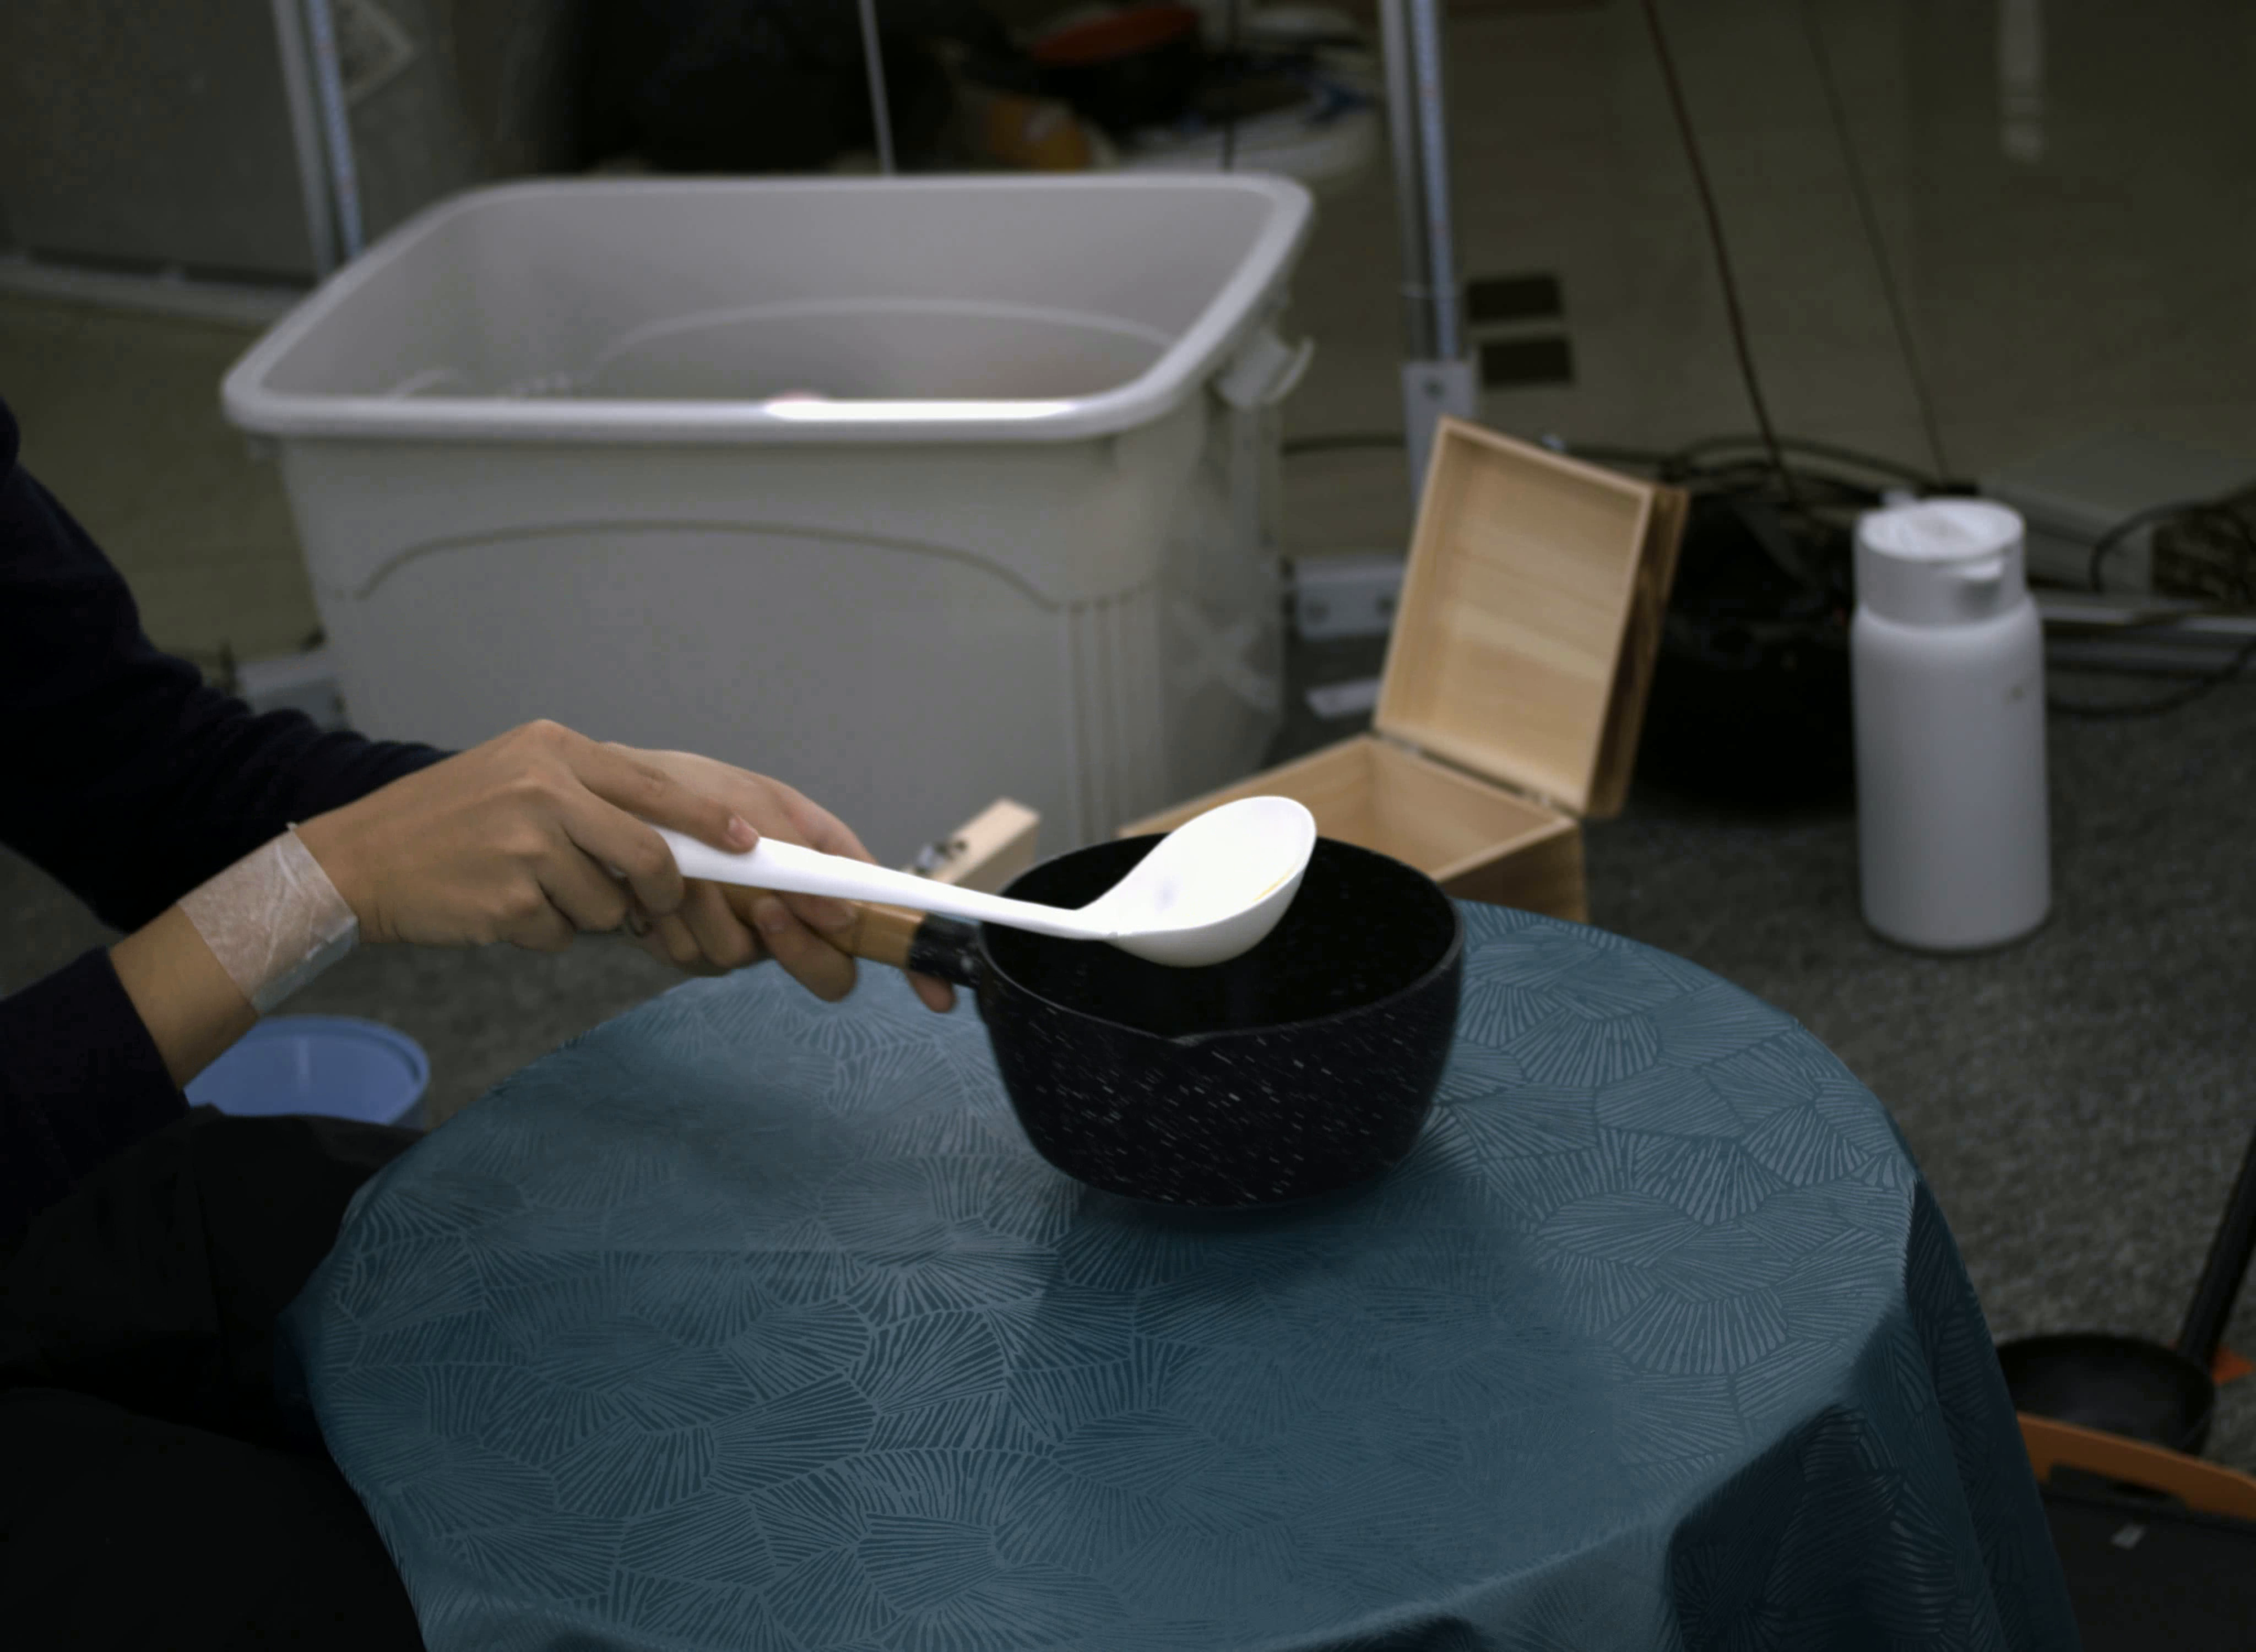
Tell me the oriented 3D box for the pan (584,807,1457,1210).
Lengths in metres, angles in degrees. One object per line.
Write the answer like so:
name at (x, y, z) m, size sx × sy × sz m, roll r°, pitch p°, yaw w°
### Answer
pan at (-0.047, 0.059, 2.156) m, size 0.342 × 0.110 × 0.204 m, roll 5°, pitch 25°, yaw 9°

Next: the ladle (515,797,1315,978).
ladle at (-0.078, 0.010, 2.115) m, size 0.293 × 0.071 × 0.088 m, roll 8°, pitch 33°, yaw -10°
